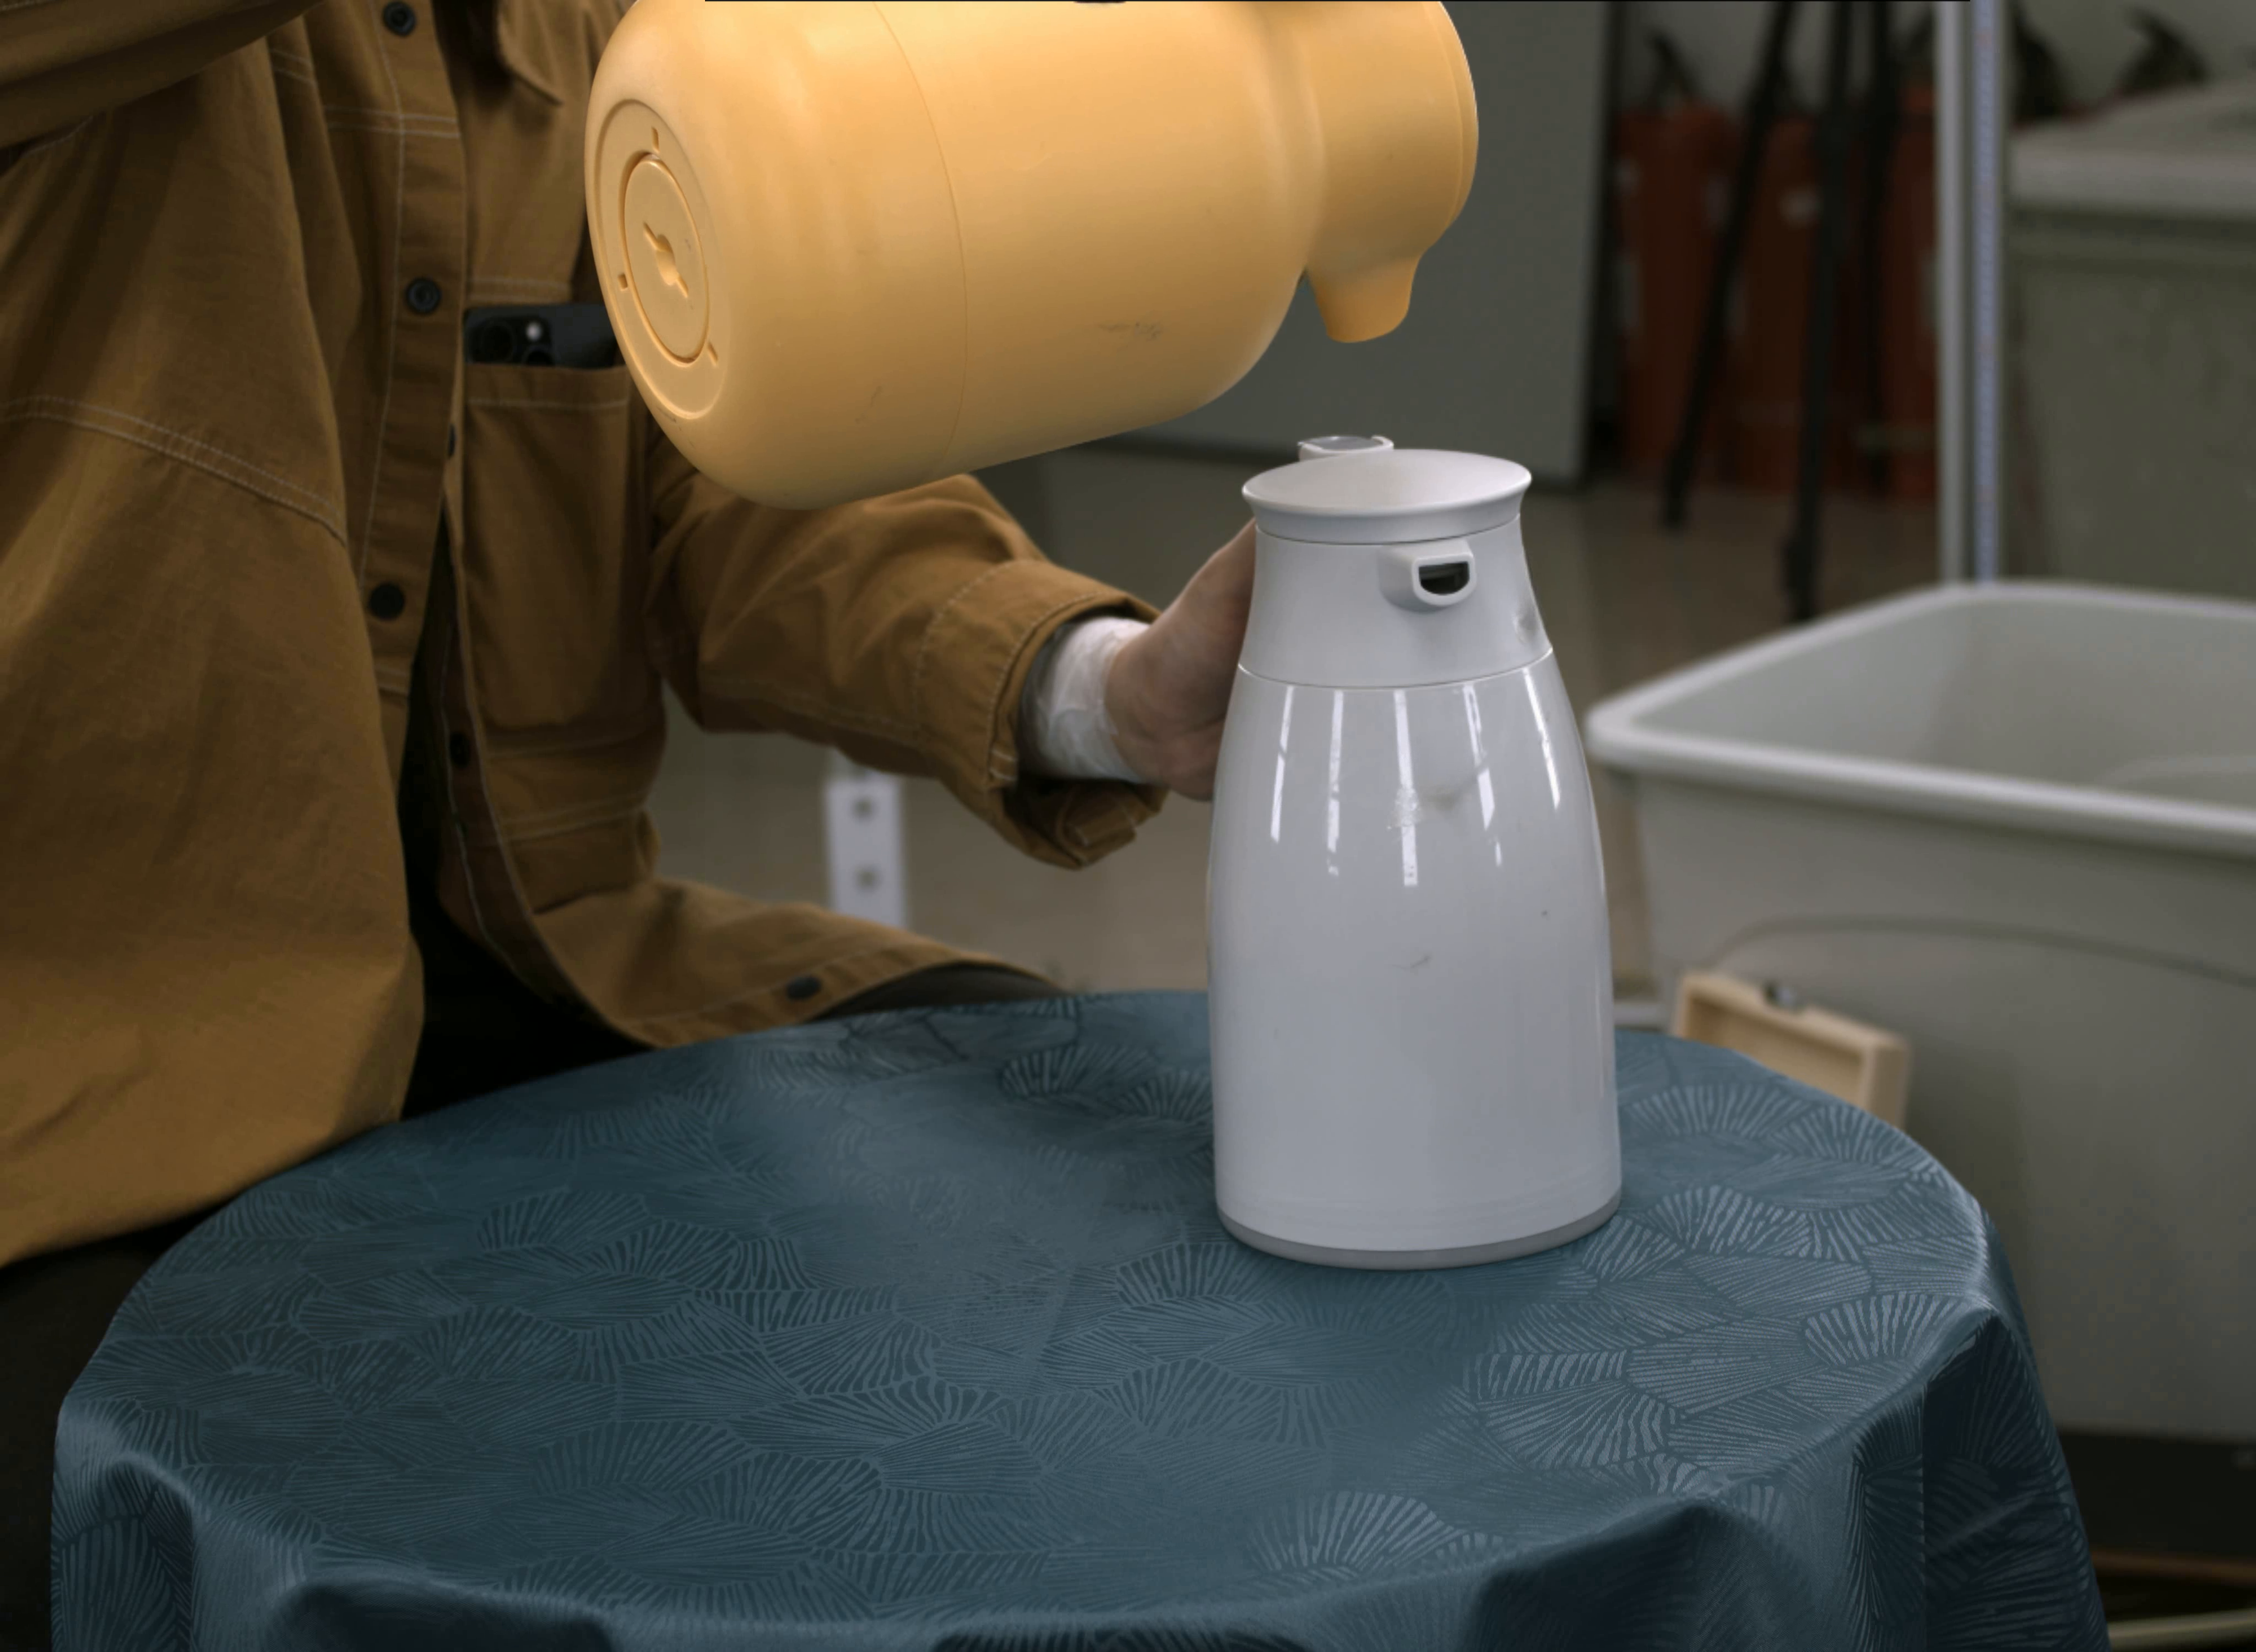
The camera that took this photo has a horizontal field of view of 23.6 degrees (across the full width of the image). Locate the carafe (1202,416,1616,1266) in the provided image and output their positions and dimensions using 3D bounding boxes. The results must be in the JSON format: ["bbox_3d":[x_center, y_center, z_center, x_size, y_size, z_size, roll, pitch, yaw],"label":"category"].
[{"bbox_3d":[0.080,-0.003,1.729,0.130,0.251,0.169,-7,13,-12],"label":"carafe"}]

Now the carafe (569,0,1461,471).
[{"bbox_3d":[-0.029,-0.222,1.600,0.255,0.204,0.165,-13,23,-25],"label":"carafe"}]
